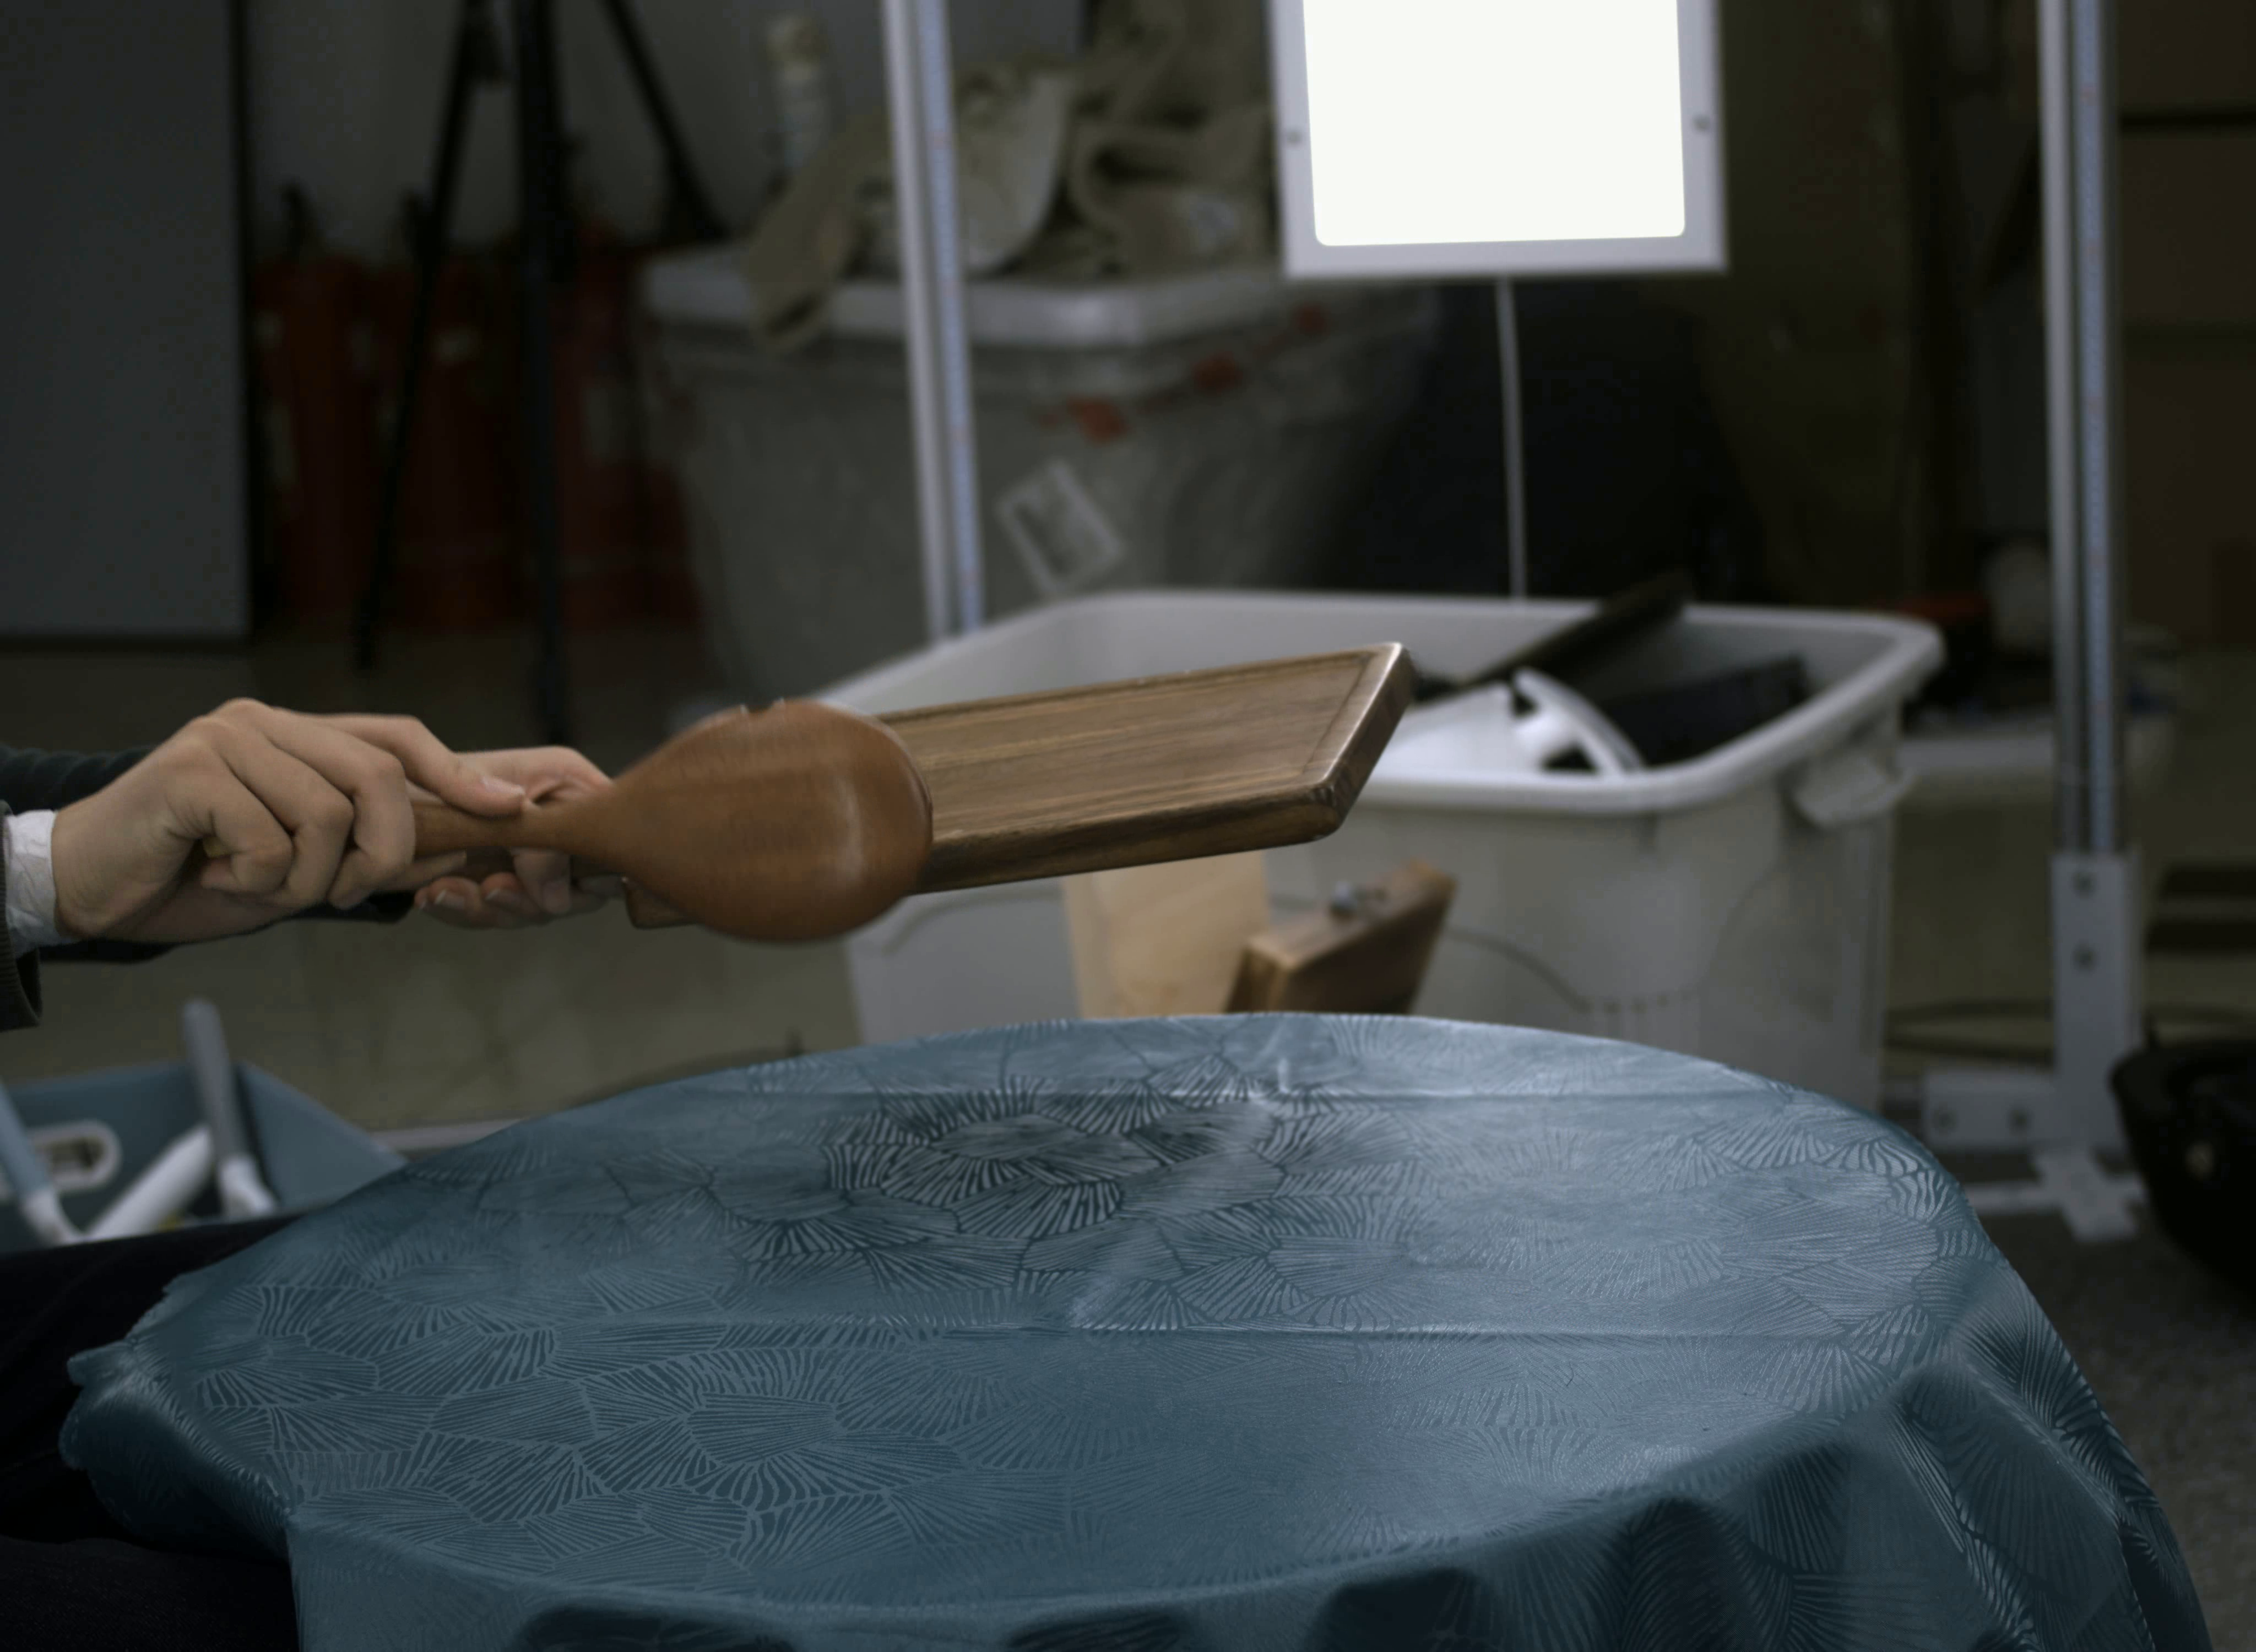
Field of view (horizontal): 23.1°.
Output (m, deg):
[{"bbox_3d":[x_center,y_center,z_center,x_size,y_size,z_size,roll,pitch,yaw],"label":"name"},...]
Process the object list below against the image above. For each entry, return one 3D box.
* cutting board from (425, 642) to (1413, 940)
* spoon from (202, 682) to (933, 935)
[{"bbox_3d":[-0.081,-0.008,1.941,0.356,0.023,0.198,-8,16,16],"label":"cutting board"},{"bbox_3d":[-0.164,-0.002,1.626,0.214,0.076,0.017,-2,6,-5],"label":"spoon"}]
